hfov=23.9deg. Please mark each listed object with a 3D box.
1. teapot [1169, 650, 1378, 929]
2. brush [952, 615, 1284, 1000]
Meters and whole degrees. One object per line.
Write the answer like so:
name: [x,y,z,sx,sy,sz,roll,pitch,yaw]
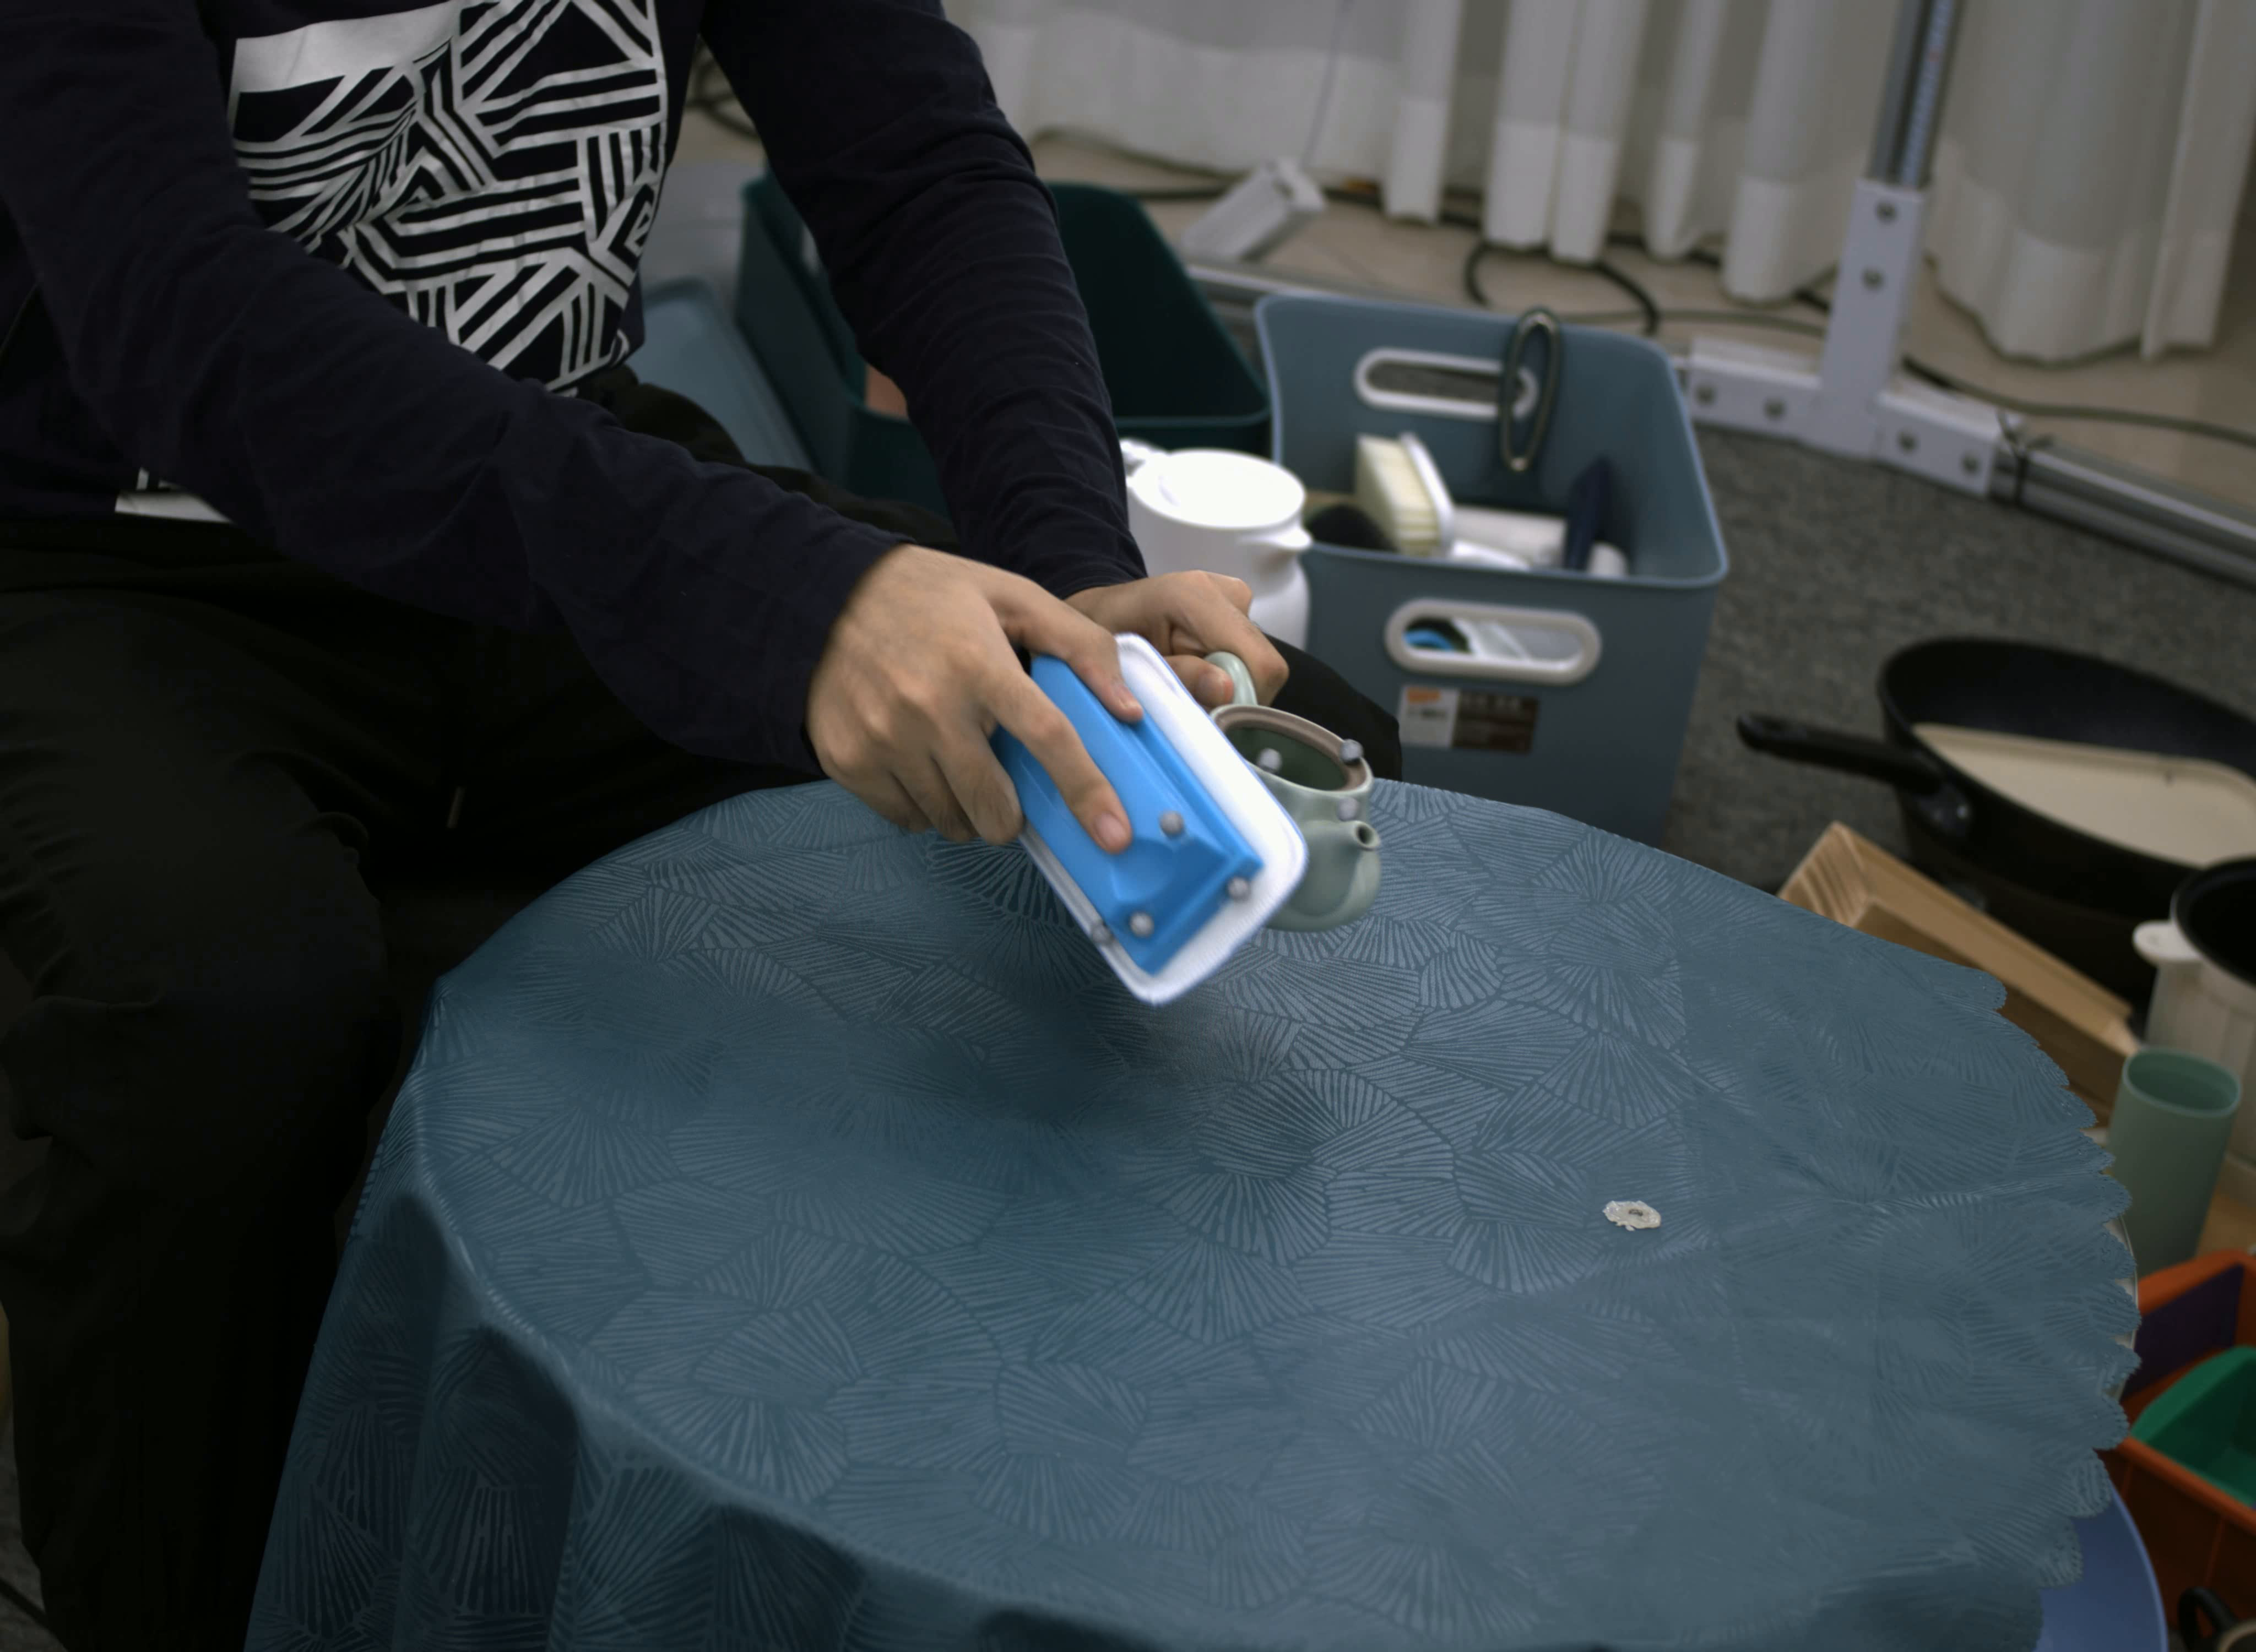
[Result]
teapot: [0.043,-0.008,1.874,0.095,0.061,0.138,6,29,-31]
brush: [-0.010,-0.012,1.827,0.055,0.084,0.145,38,14,-51]
